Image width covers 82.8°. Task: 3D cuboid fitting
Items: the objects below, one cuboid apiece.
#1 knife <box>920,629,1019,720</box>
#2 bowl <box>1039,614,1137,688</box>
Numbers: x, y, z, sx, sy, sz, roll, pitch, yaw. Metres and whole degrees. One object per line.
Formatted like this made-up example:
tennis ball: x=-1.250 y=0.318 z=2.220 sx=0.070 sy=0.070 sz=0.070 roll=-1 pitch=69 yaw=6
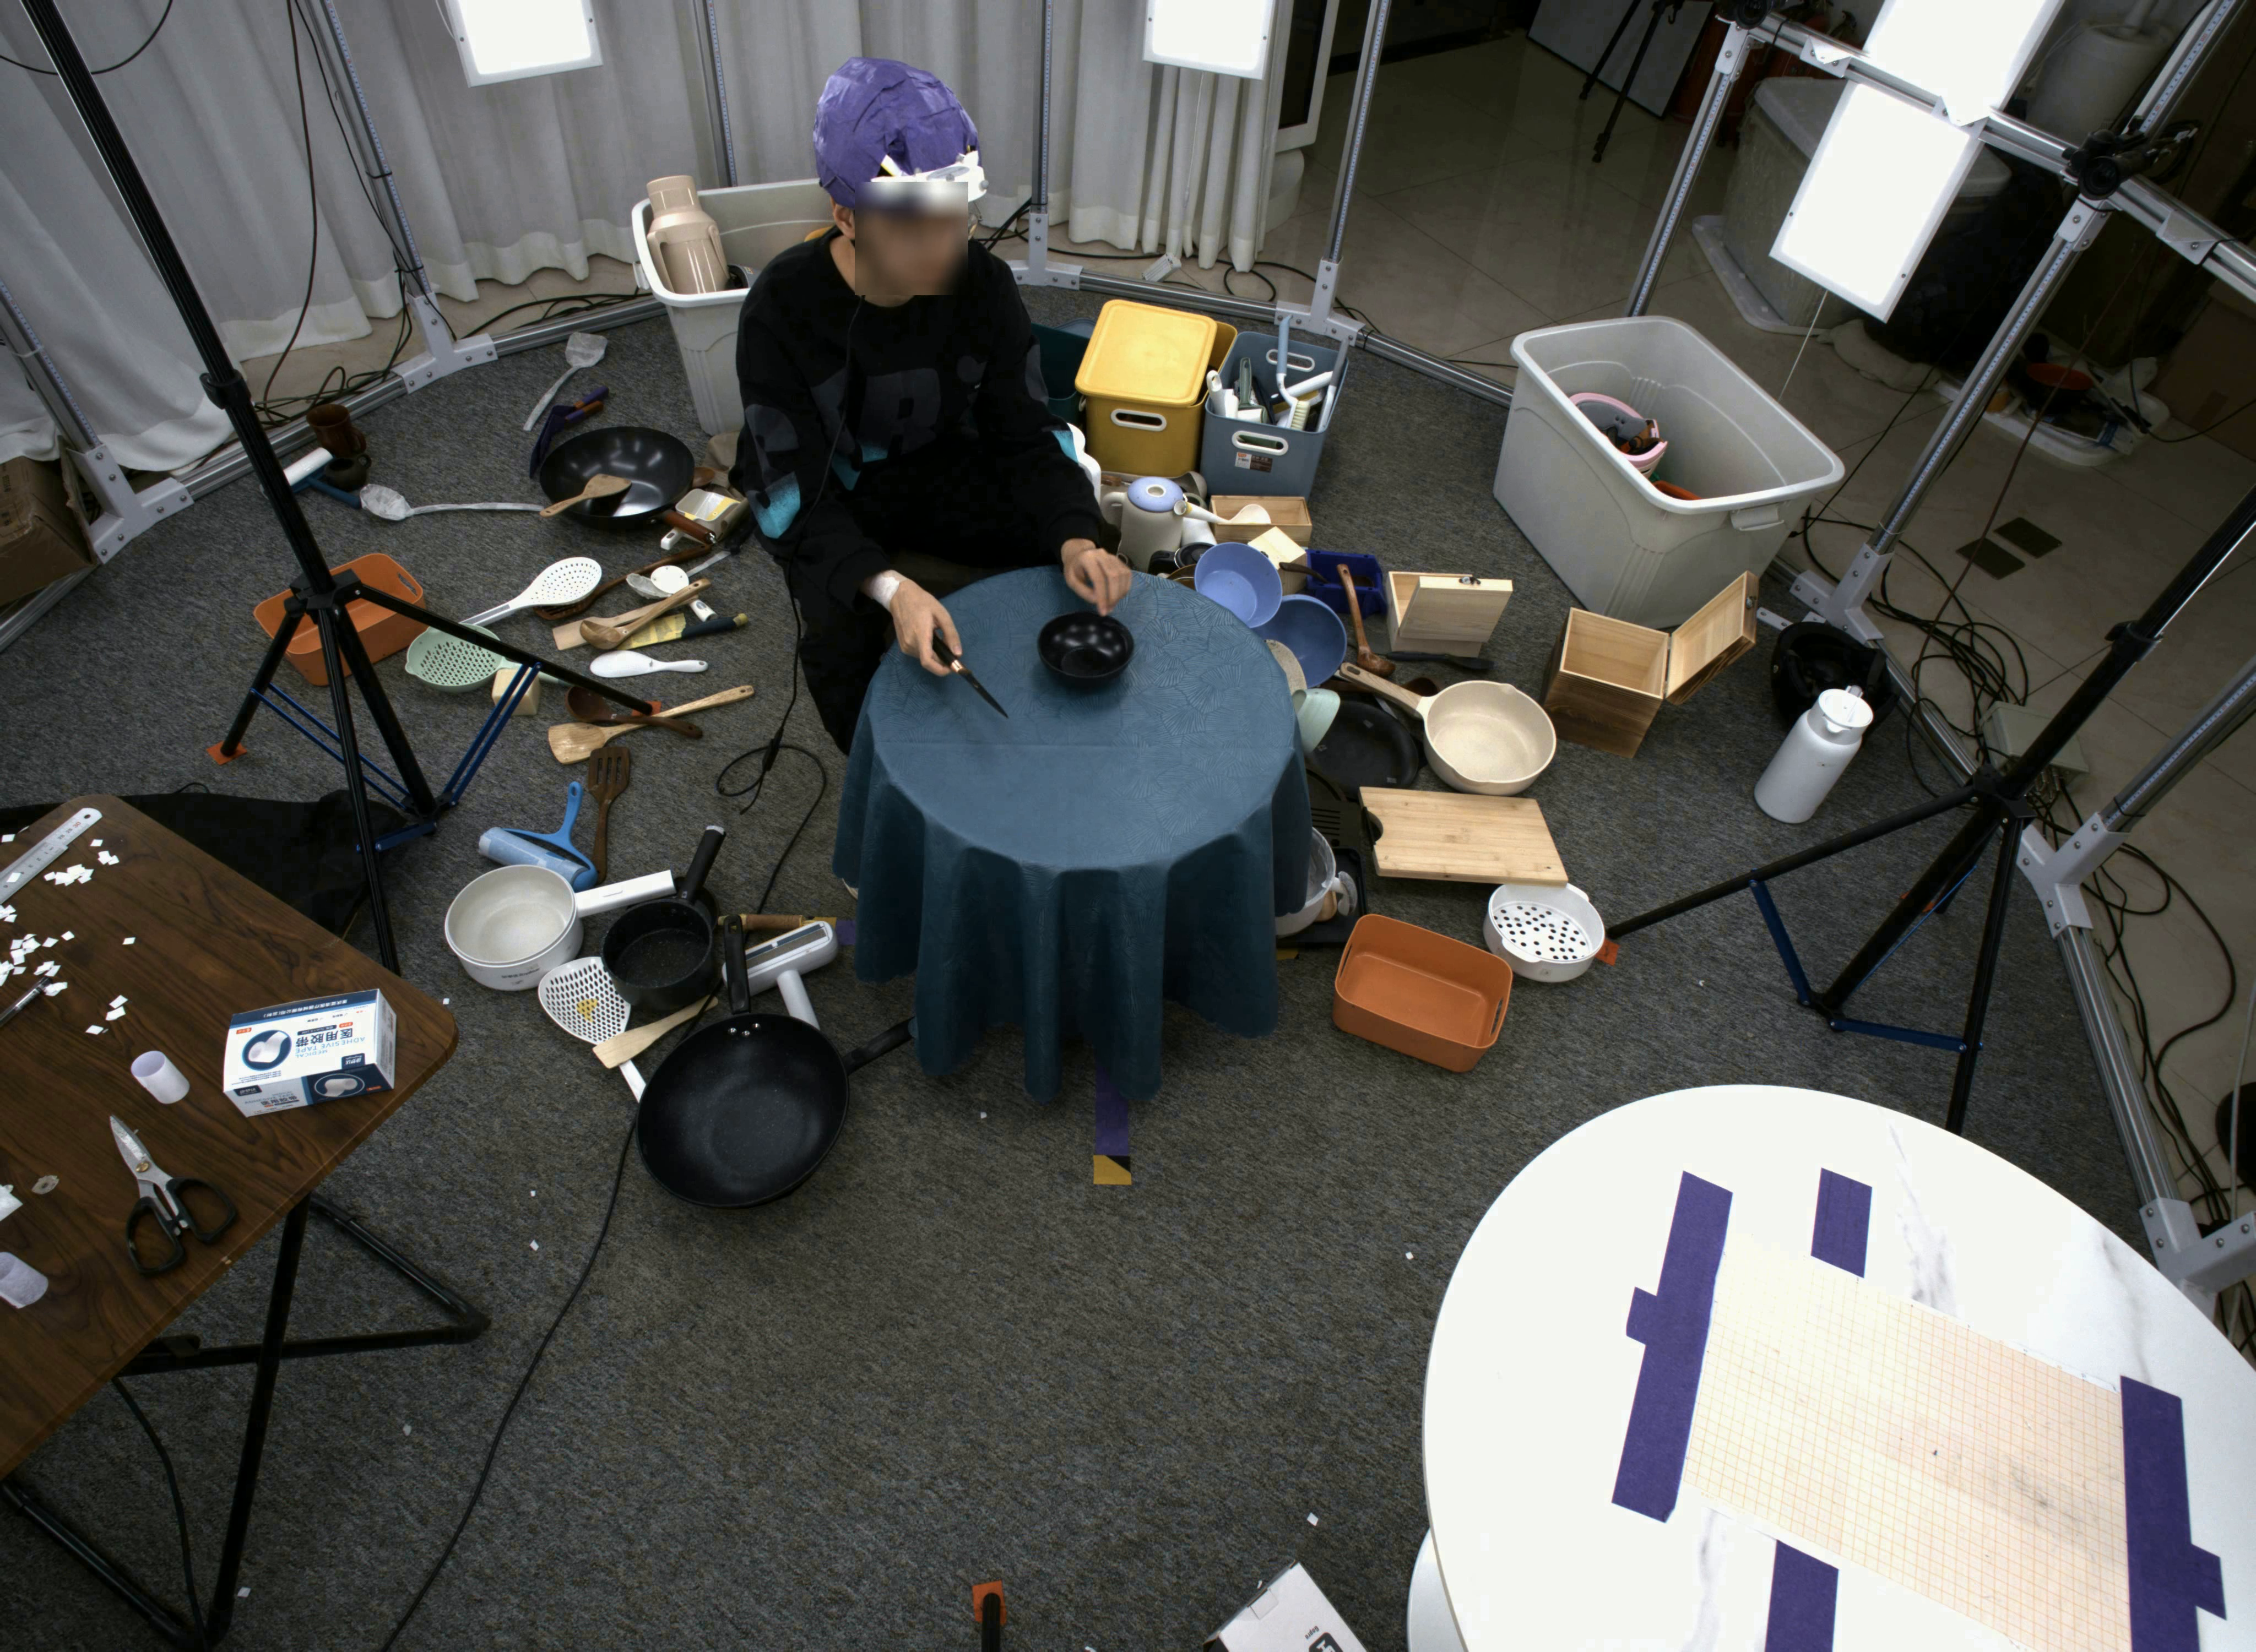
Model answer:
knife: x=-0.220 y=-0.209 z=1.769 sx=0.026 sy=0.017 sz=0.230 roll=-3 pitch=38 yaw=-47
bowl: x=-0.057 y=-0.243 z=1.847 sx=0.140 sy=0.048 sz=0.143 roll=0 pitch=47 yaw=0
